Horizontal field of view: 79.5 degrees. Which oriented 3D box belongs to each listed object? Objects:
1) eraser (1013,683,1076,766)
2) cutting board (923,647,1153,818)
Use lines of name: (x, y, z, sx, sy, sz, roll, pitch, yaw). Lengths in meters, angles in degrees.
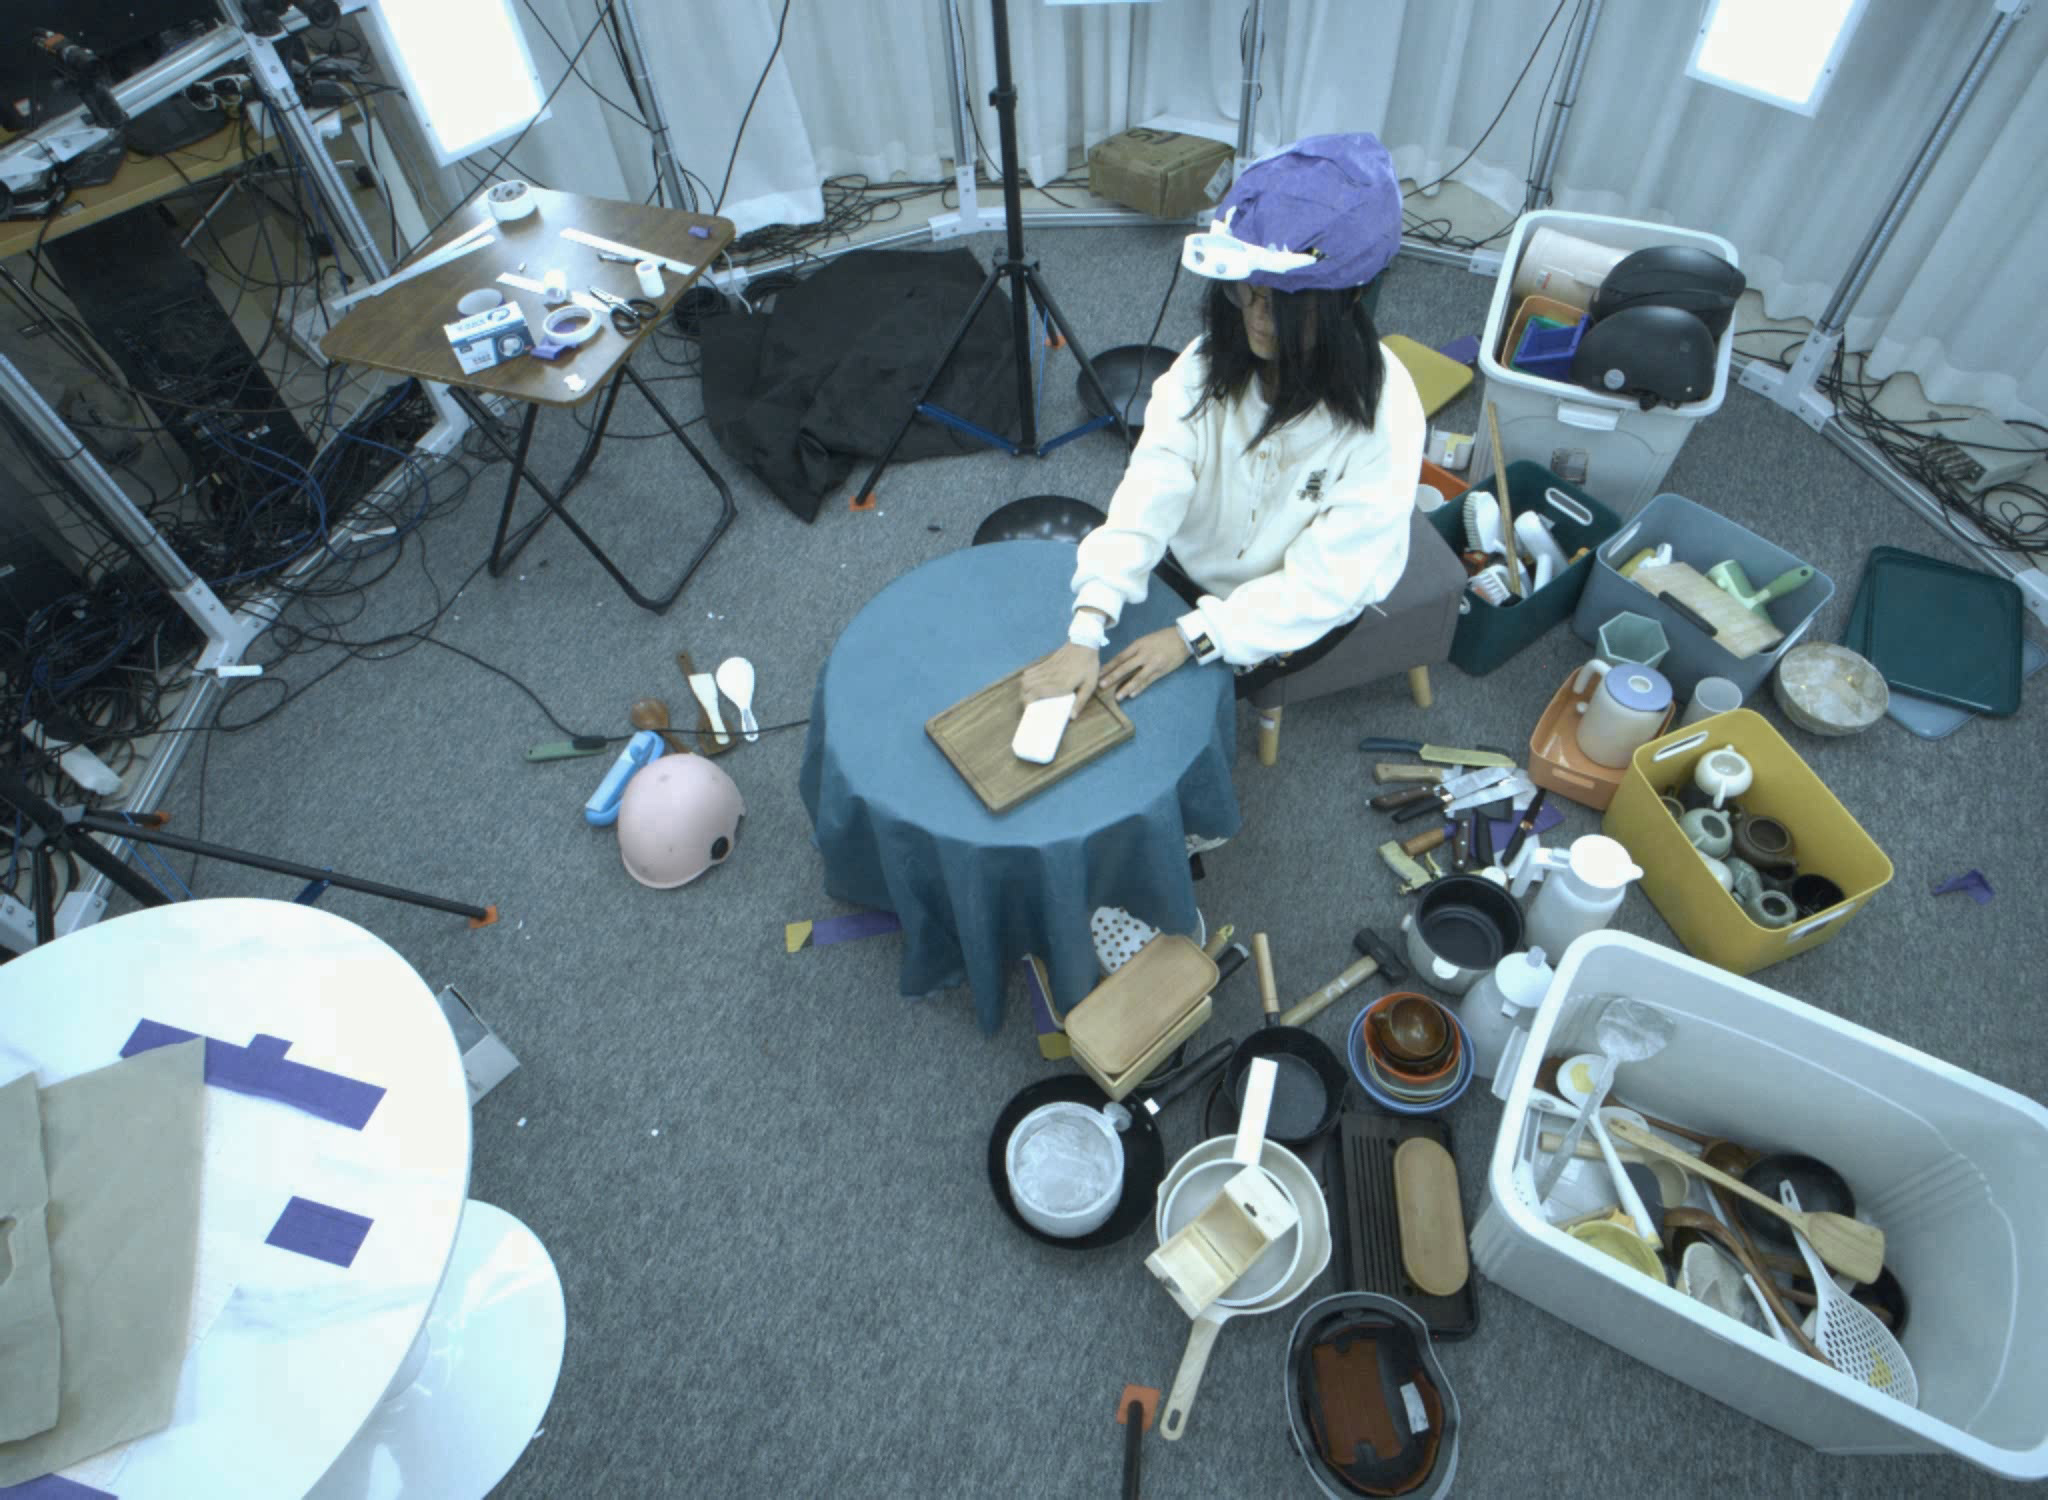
eraser: (0.032, -0.039, 1.777, 0.063, 0.035, 0.131, 15, 57, 13)
cutting board: (0.048, -0.055, 1.812, 0.355, 0.023, 0.197, -31, 60, -18)
